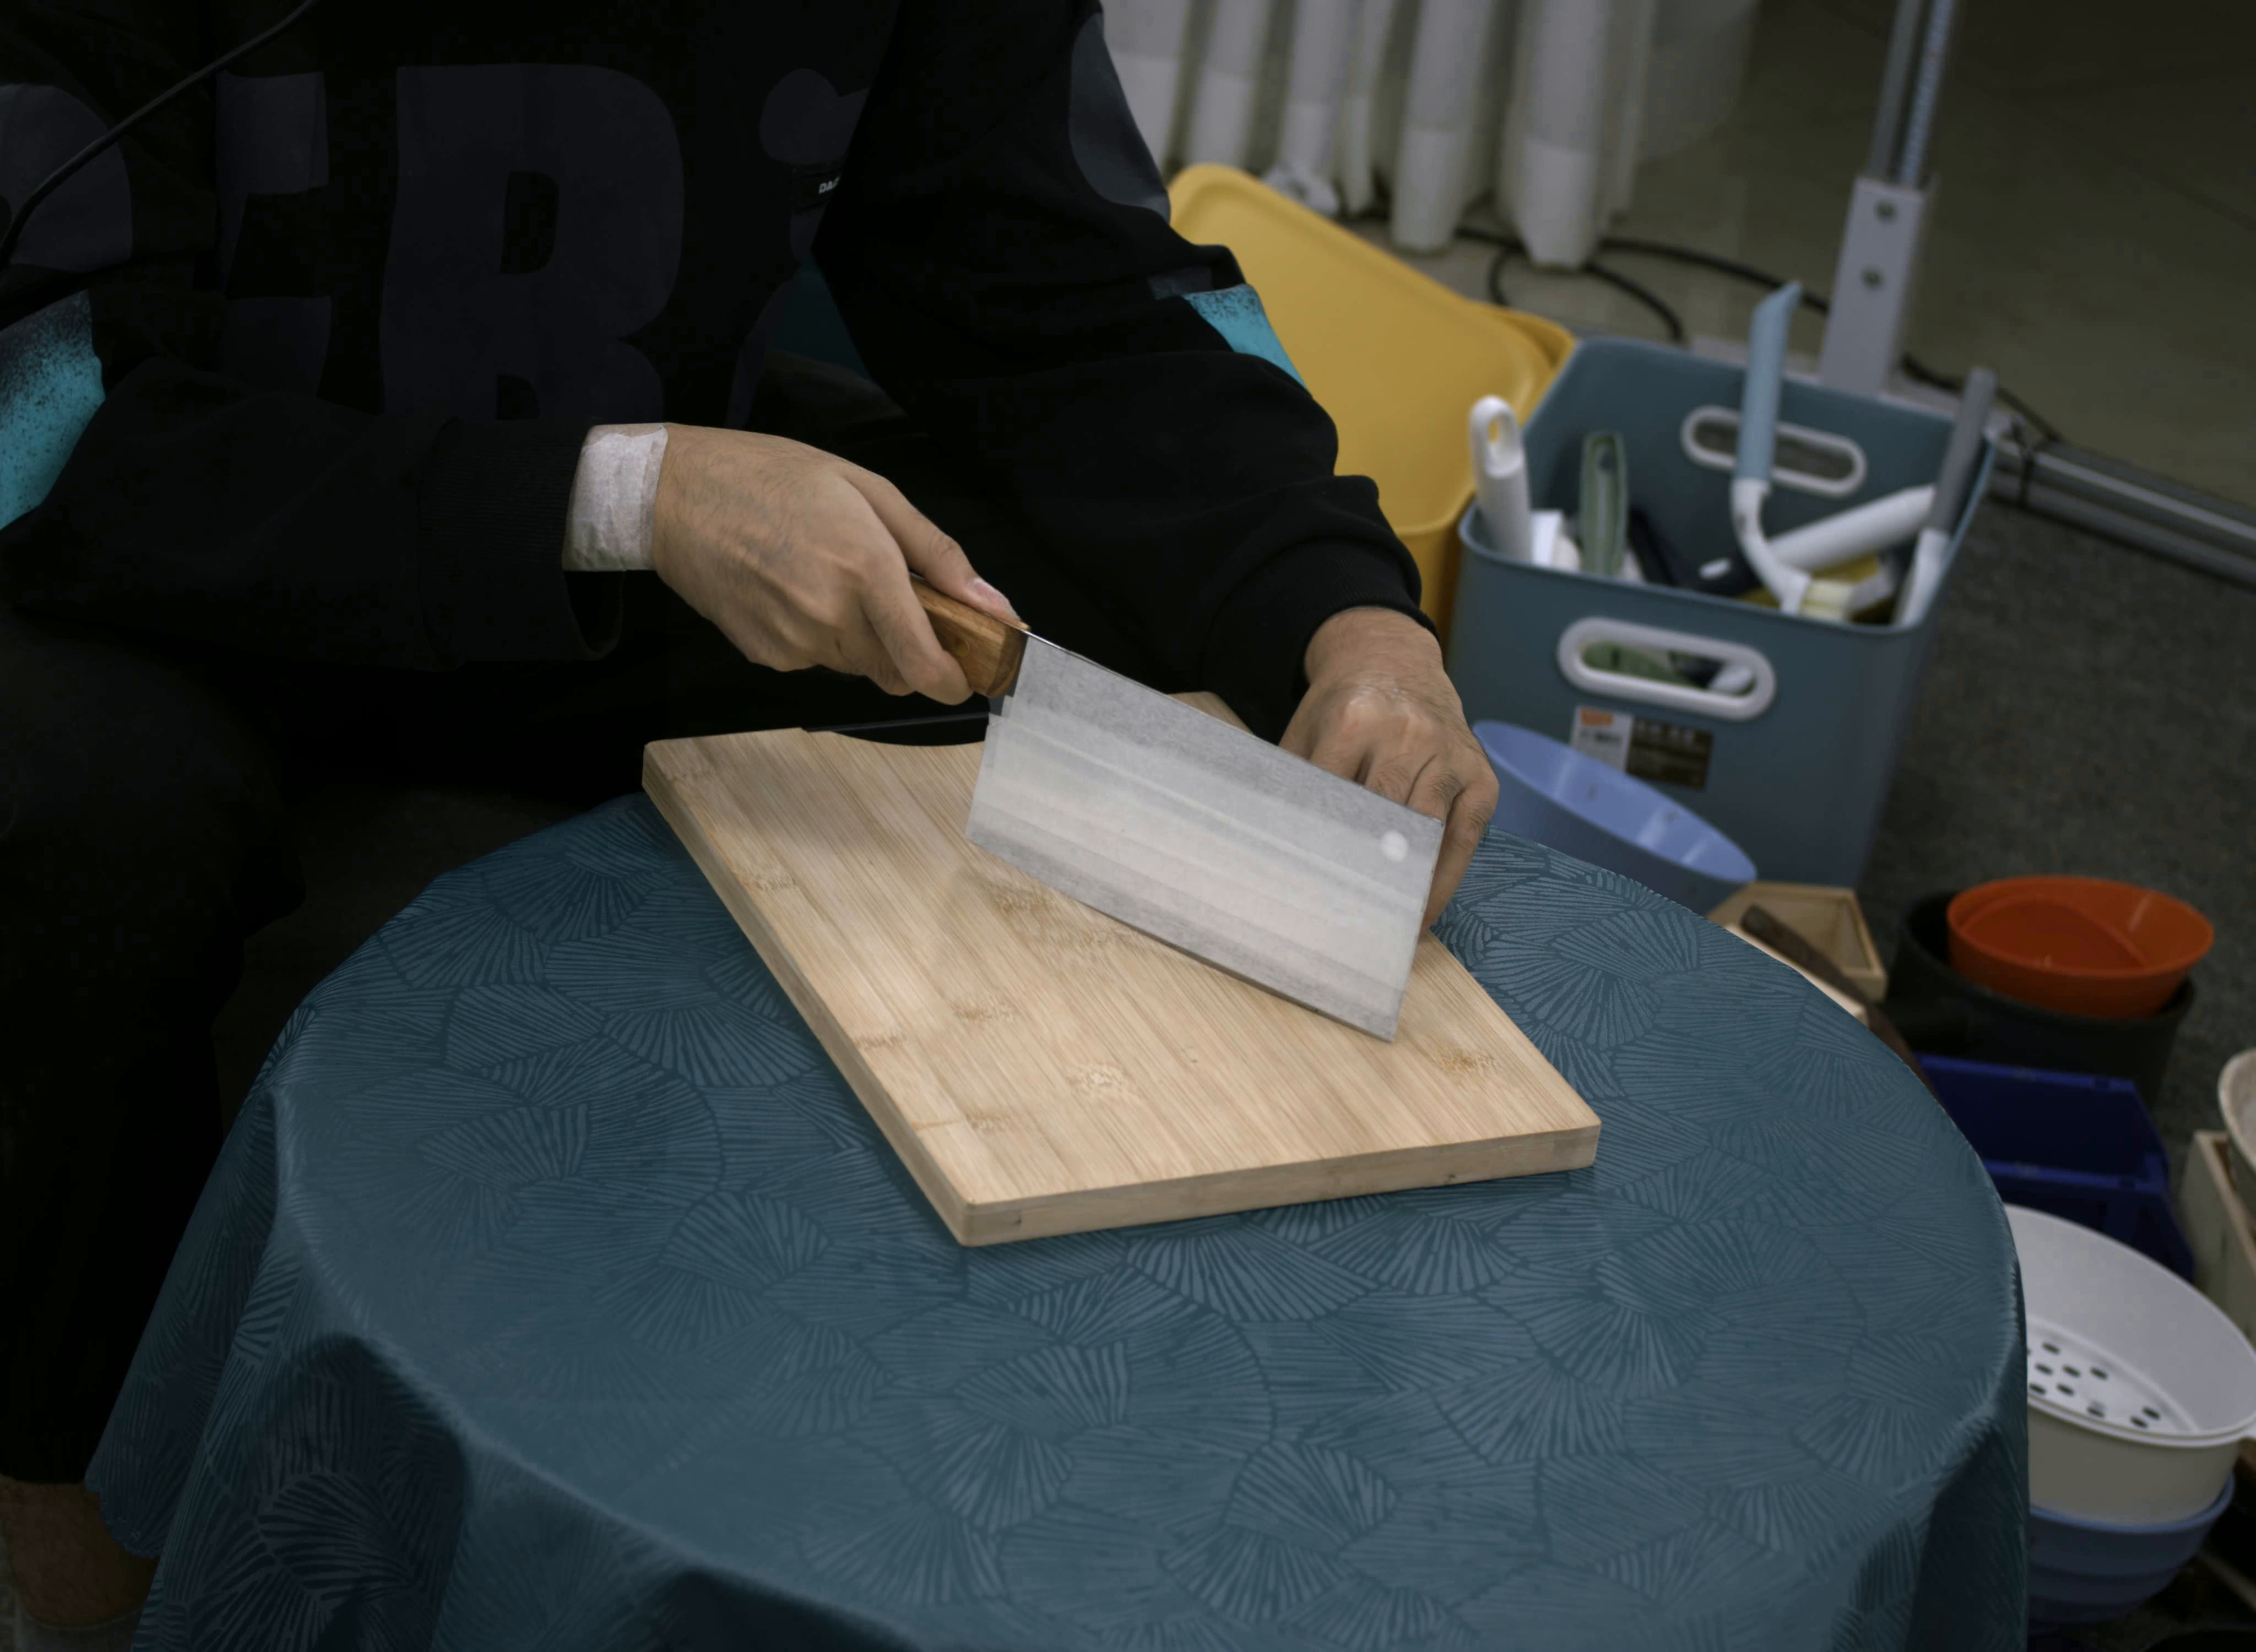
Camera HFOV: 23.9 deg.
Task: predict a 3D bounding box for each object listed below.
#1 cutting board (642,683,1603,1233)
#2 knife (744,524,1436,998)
[{"bbox_3d":[-0.011,0.041,1.942,0.249,0.023,0.352,-6,30,-23],"label":"cutting board"},{"bbox_3d":[-0.021,-0.021,1.924,0.307,0.092,0.021,25,28,27],"label":"knife"}]
